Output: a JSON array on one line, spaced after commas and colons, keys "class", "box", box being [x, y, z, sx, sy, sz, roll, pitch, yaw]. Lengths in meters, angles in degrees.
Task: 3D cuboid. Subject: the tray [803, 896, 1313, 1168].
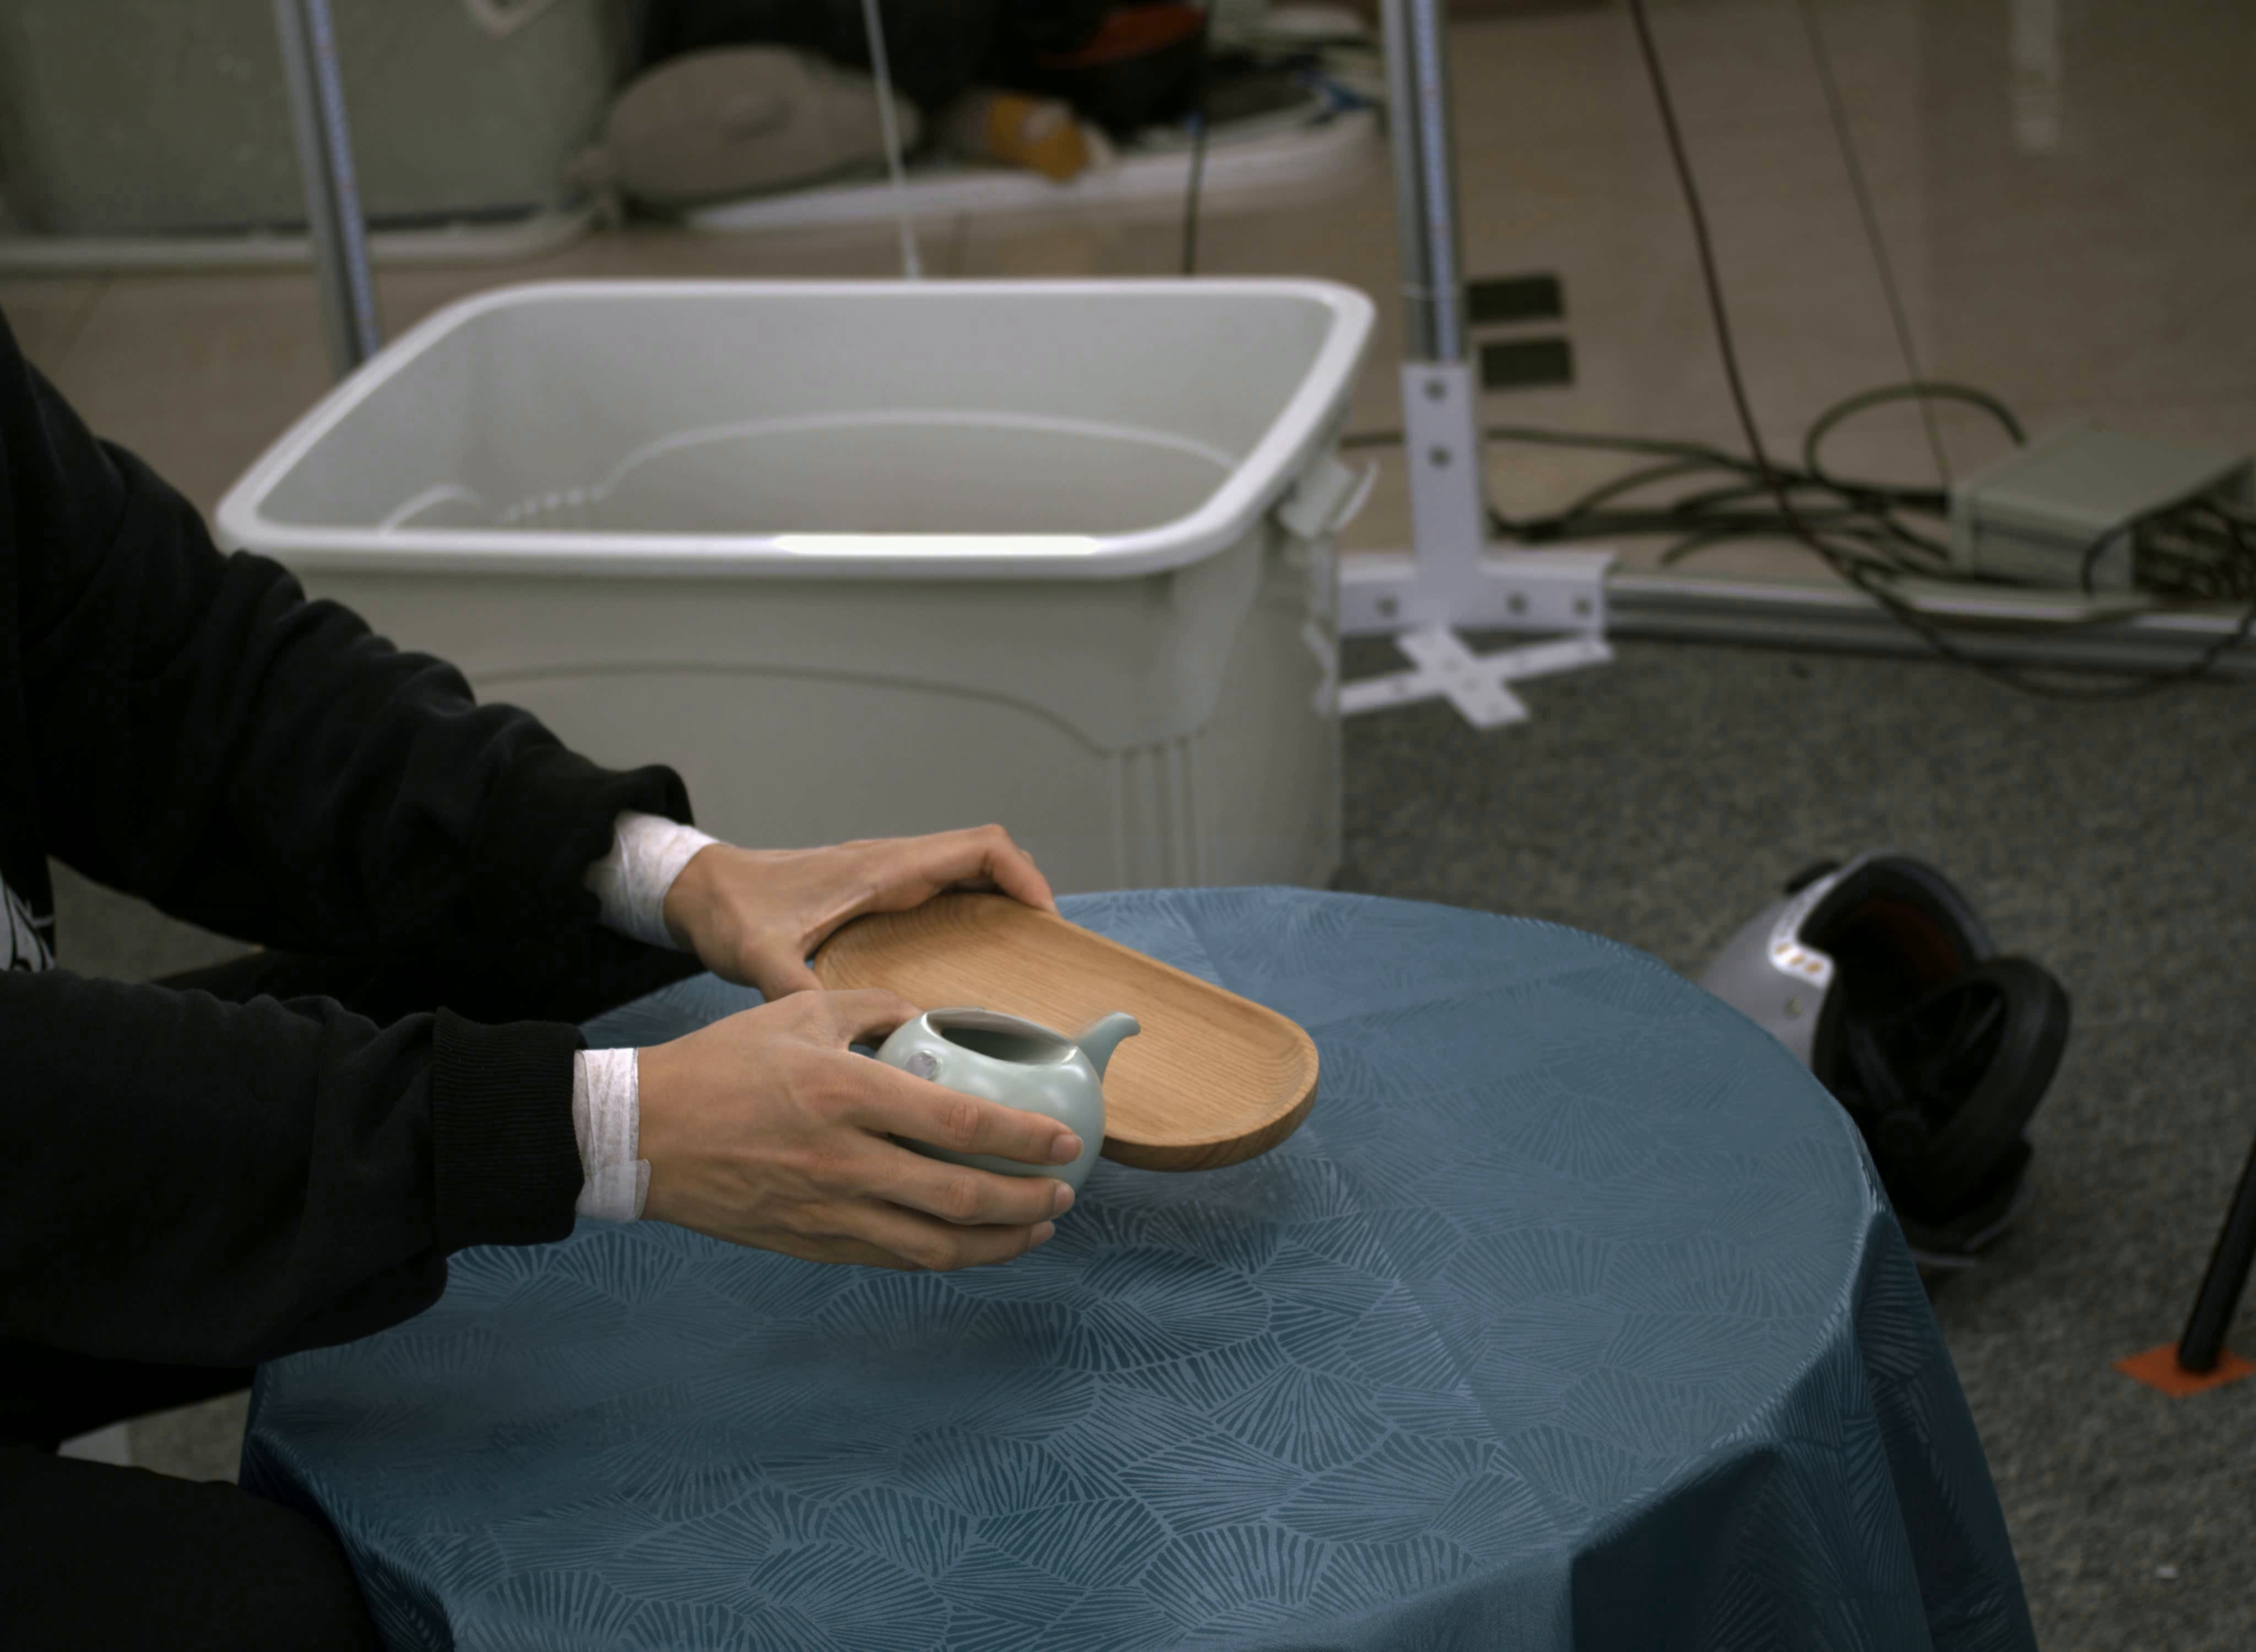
[{"class": "tray", "box": [-0.028, 0.078, 2.167, 0.229, 0.020, 0.101, 21, 38, 39]}]

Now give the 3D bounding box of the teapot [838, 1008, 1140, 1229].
[{"class": "teapot", "box": [-0.052, 0.103, 2.026, 0.144, 0.075, 0.087, -1, 19, -46]}]
